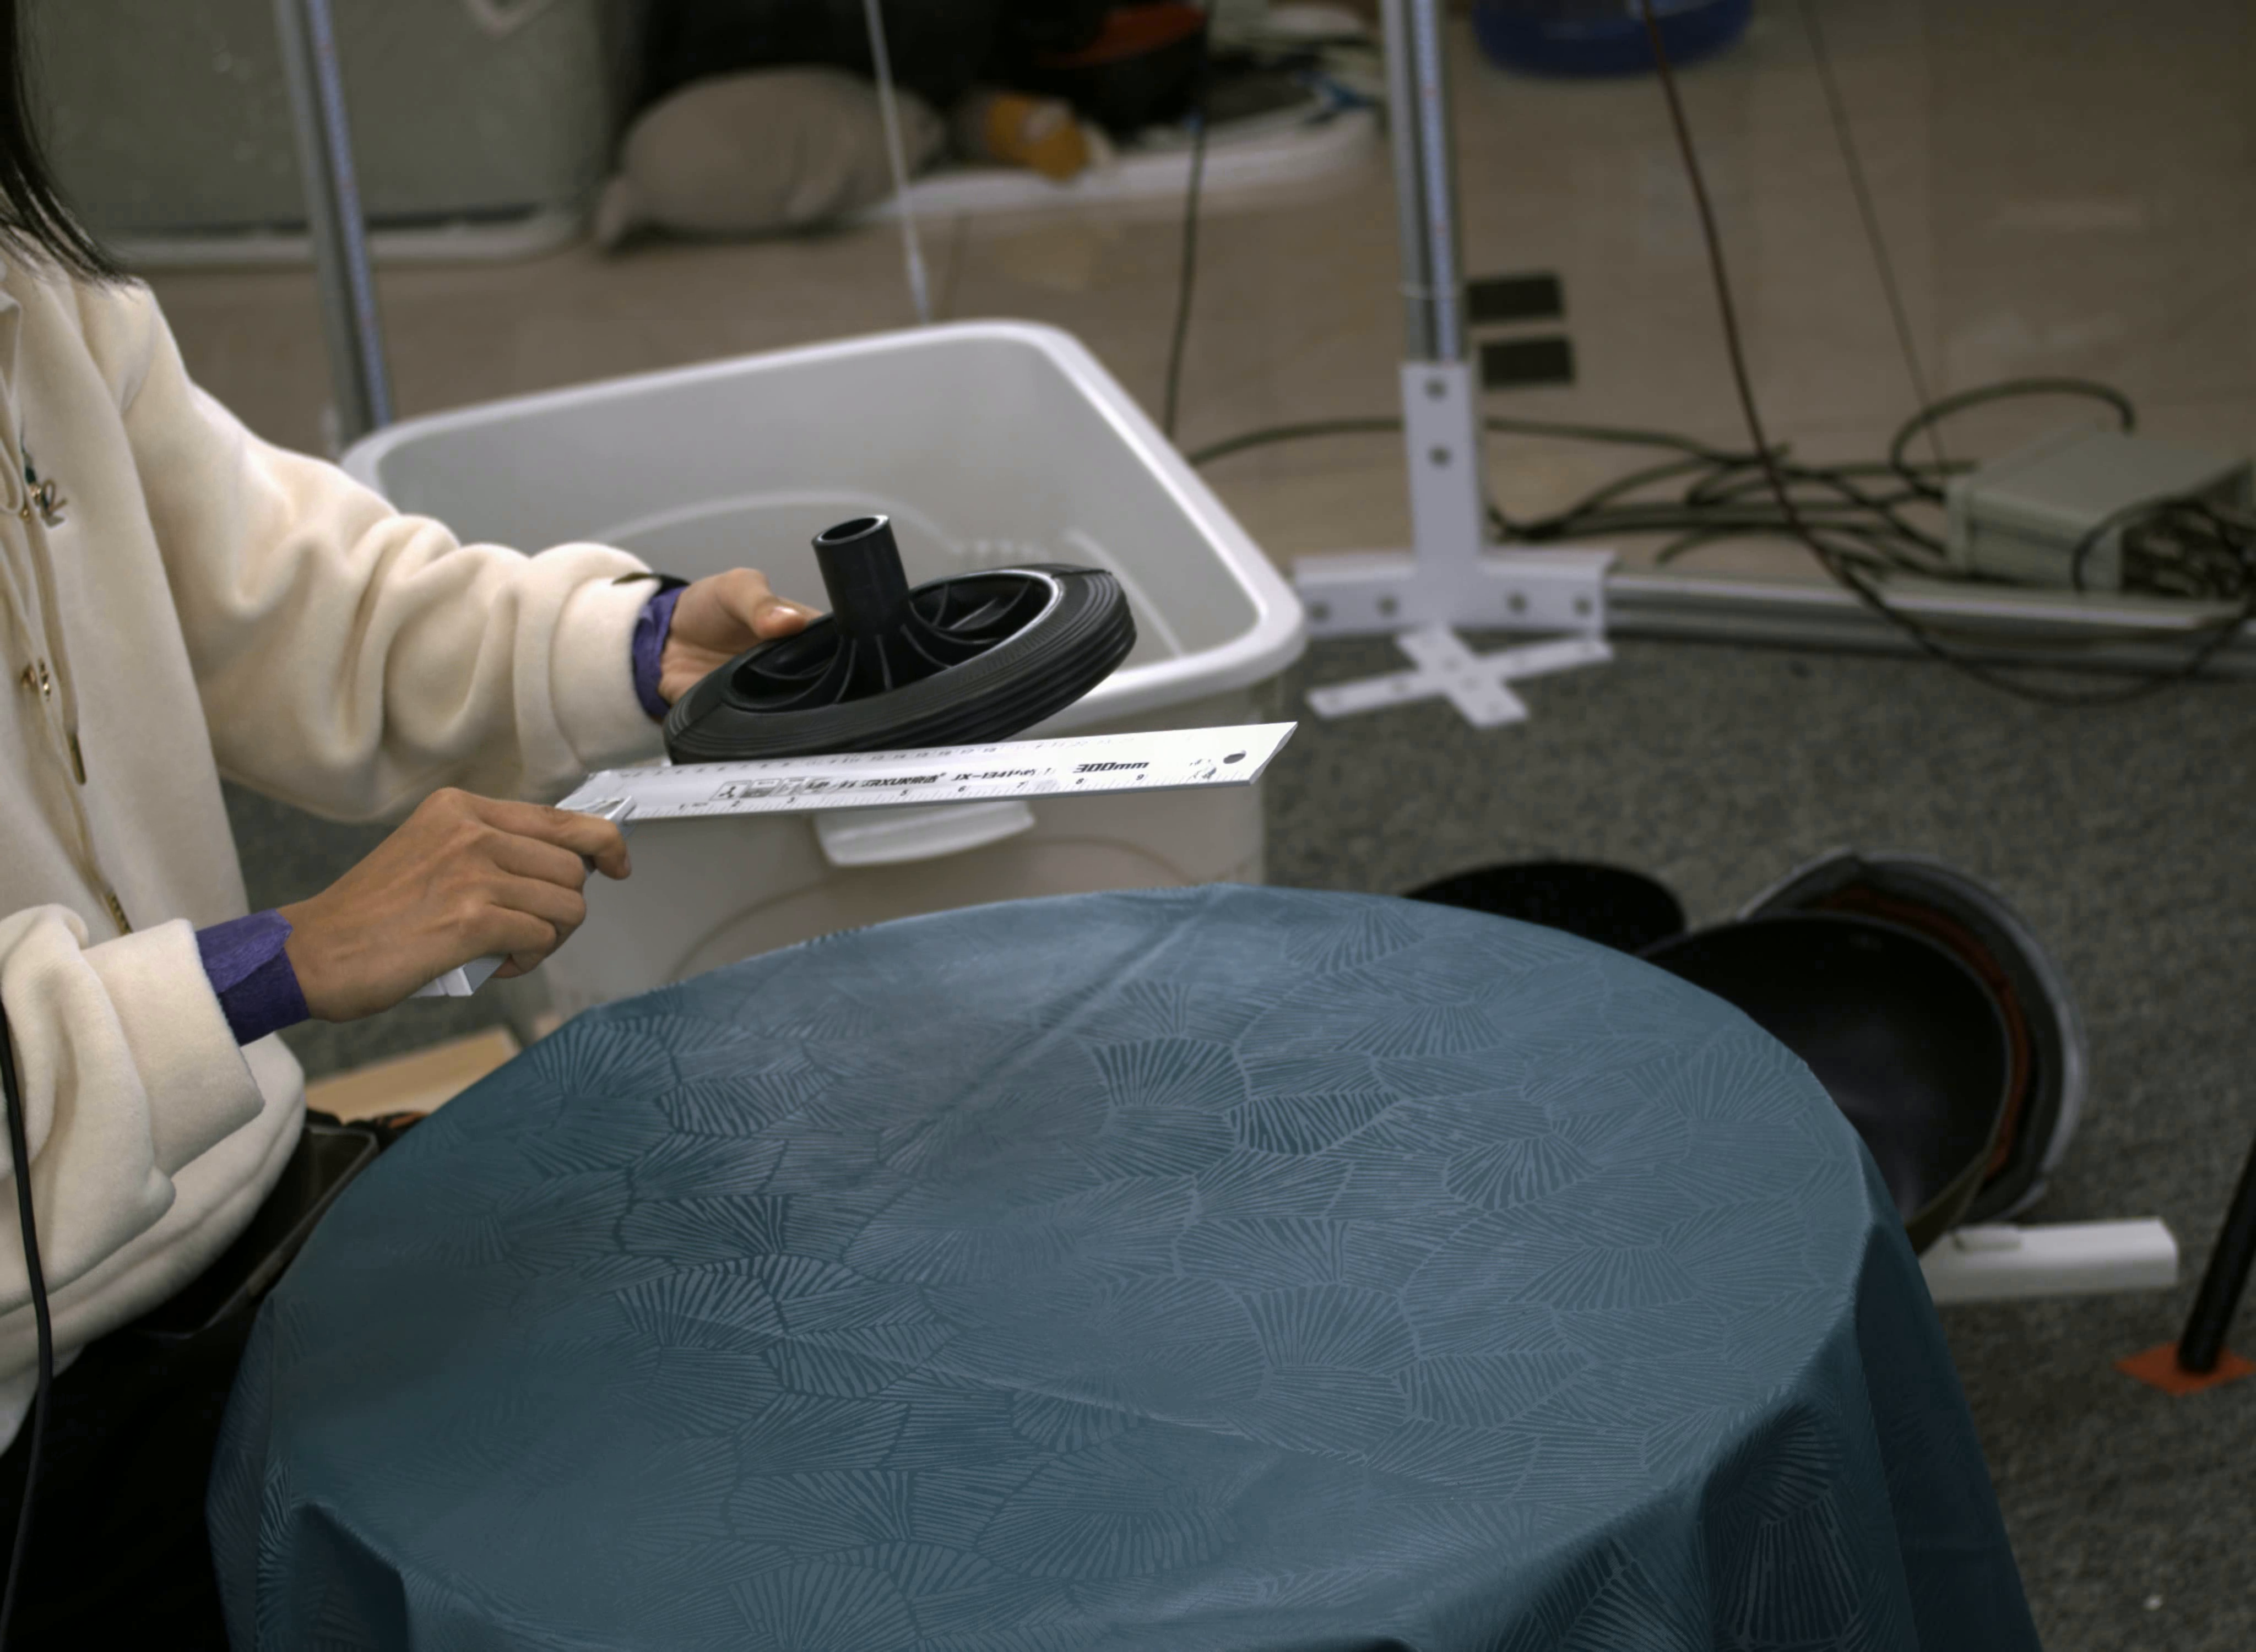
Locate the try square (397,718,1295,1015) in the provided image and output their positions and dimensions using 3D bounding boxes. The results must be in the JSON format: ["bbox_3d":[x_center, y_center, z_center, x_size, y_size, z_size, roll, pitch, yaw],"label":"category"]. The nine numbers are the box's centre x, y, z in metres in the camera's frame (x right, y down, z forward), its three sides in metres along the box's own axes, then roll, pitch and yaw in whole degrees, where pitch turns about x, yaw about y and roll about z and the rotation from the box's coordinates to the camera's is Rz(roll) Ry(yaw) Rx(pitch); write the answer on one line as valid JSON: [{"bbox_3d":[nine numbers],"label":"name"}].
[{"bbox_3d":[-0.103,0.013,2.014,0.312,0.016,0.150,-3,34,34],"label":"try square"}]

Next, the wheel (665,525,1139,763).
[{"bbox_3d":[-0.093,-0.074,2.174,0.187,0.080,0.187,-11,19,21],"label":"wheel"}]
